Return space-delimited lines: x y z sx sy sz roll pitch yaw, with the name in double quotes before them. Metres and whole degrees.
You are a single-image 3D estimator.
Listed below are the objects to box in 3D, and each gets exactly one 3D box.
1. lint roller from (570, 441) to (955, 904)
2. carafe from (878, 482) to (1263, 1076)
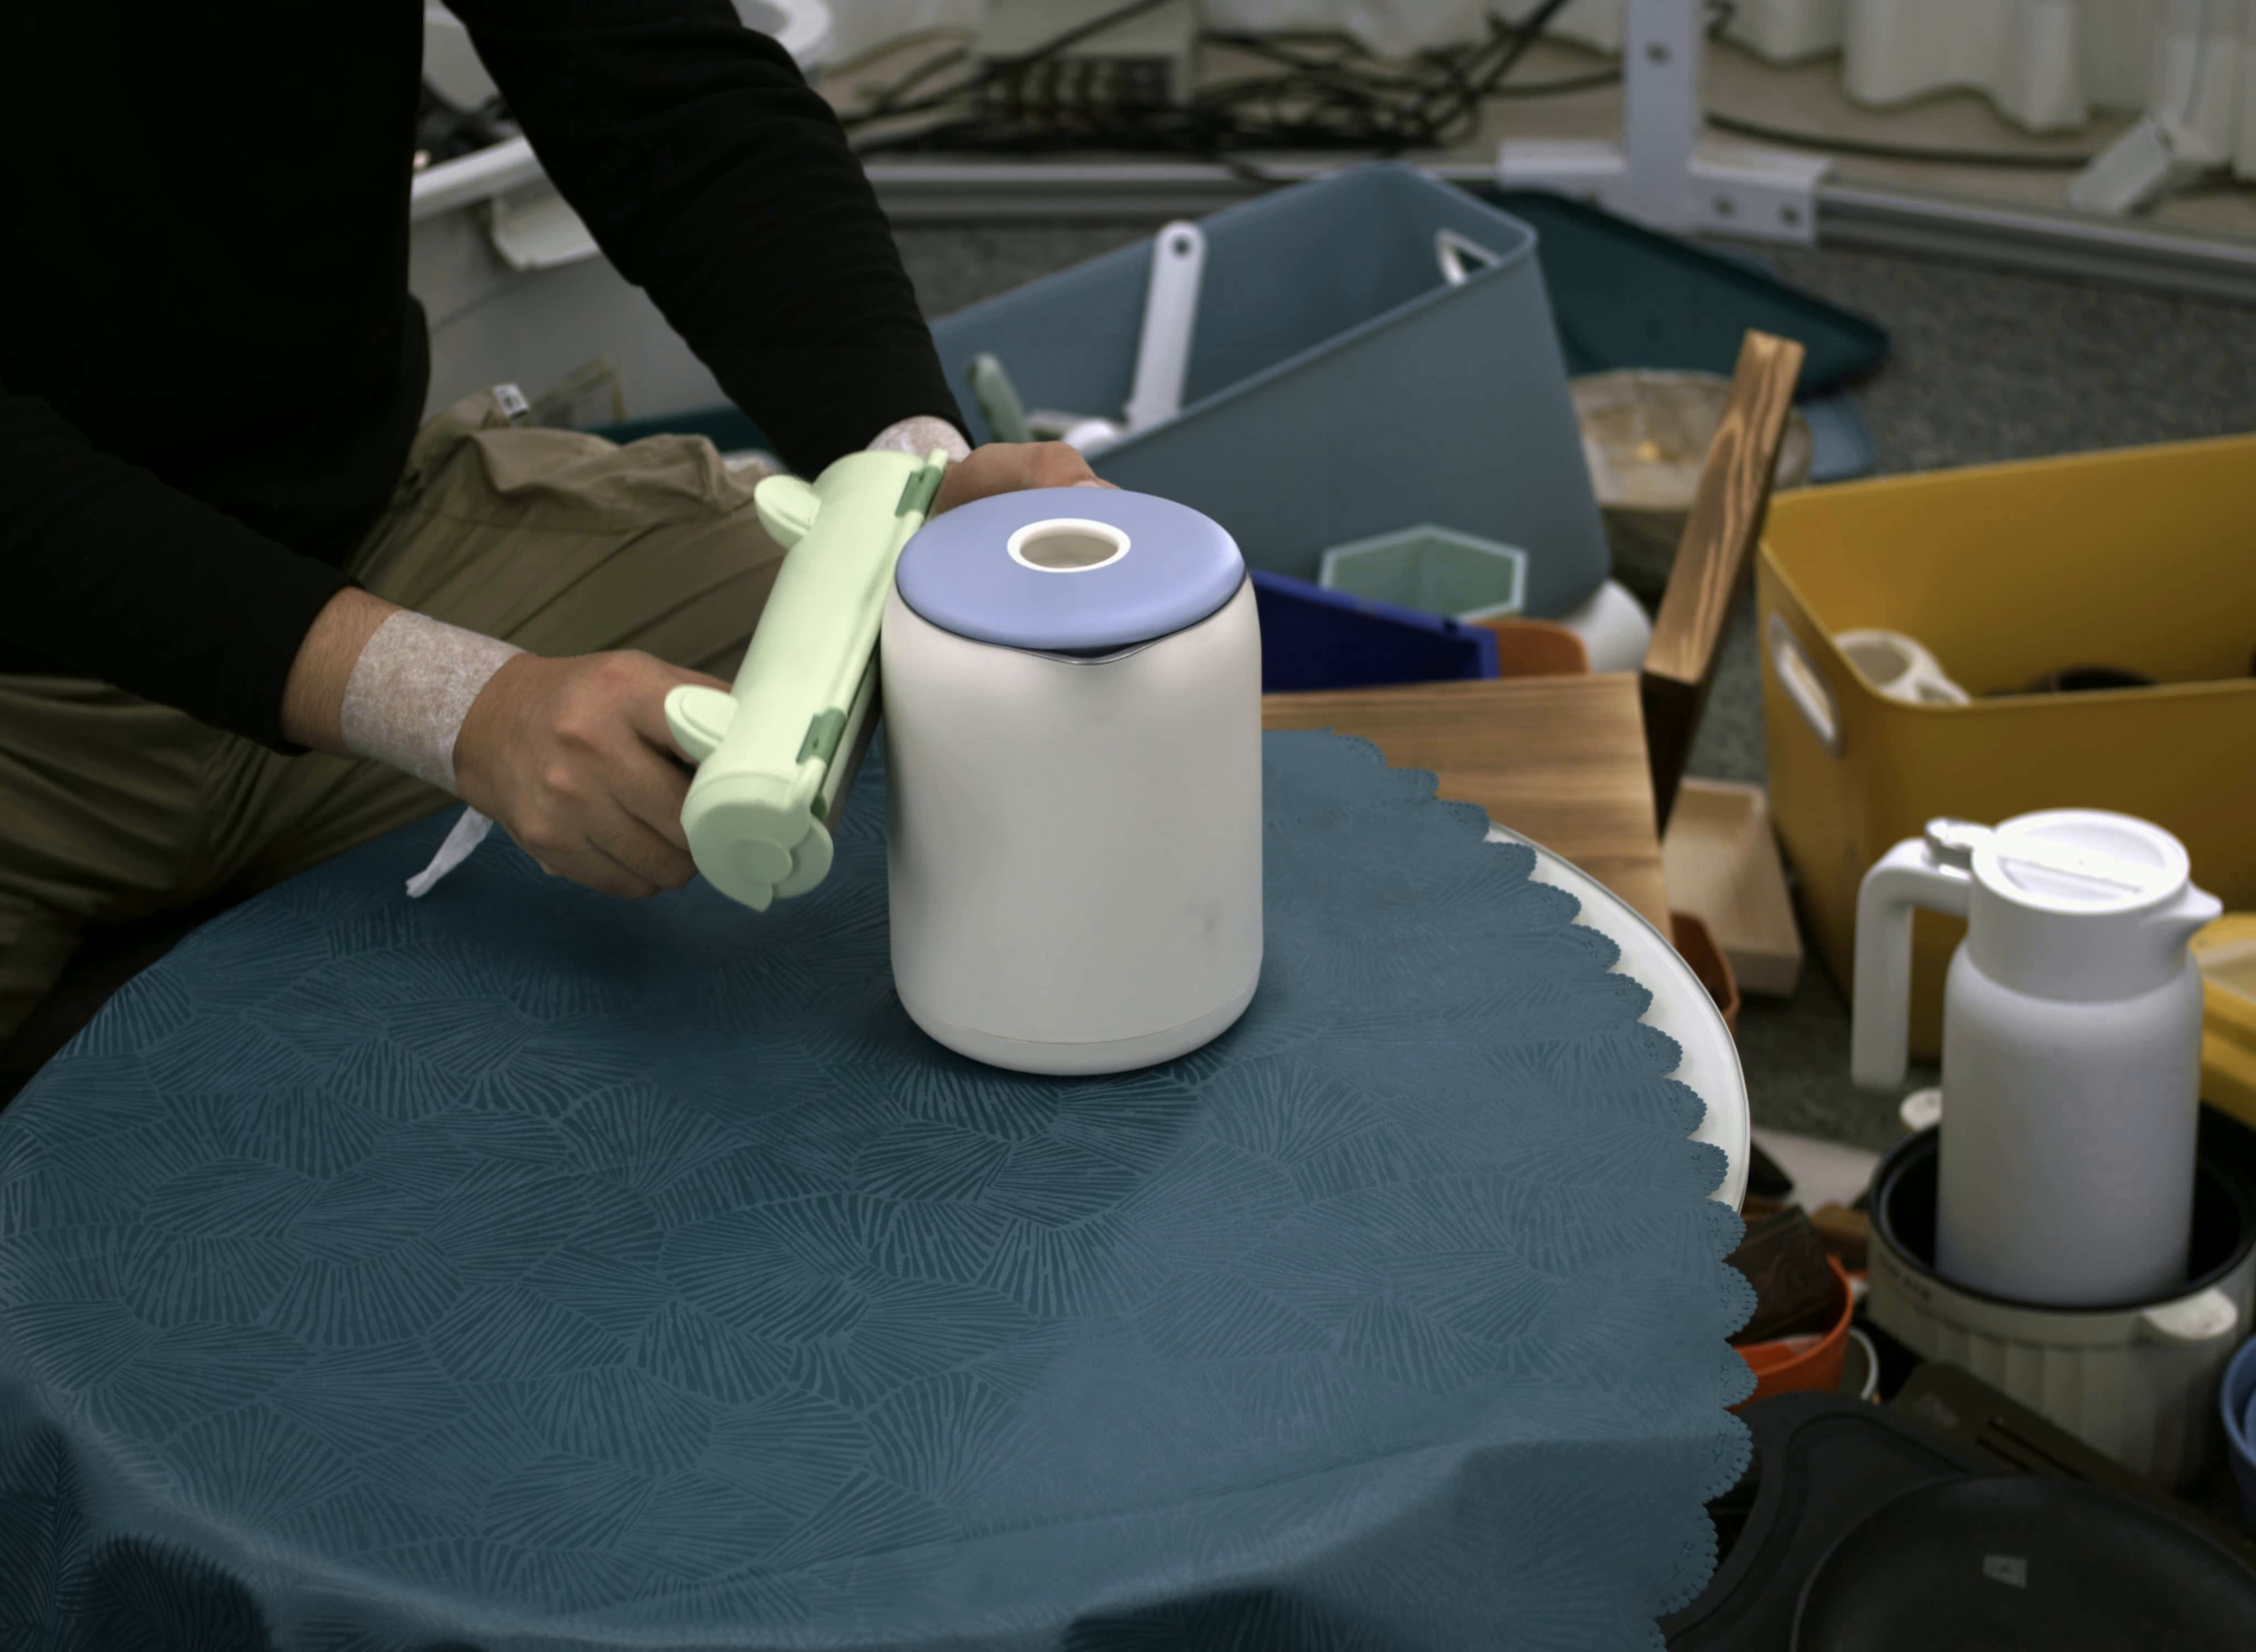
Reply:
"lint roller" -0.150 -0.040 1.974 0.180 0.082 0.203 -27 28 32
"carafe" -0.023 -0.028 1.963 0.132 0.181 0.193 -5 25 -9
